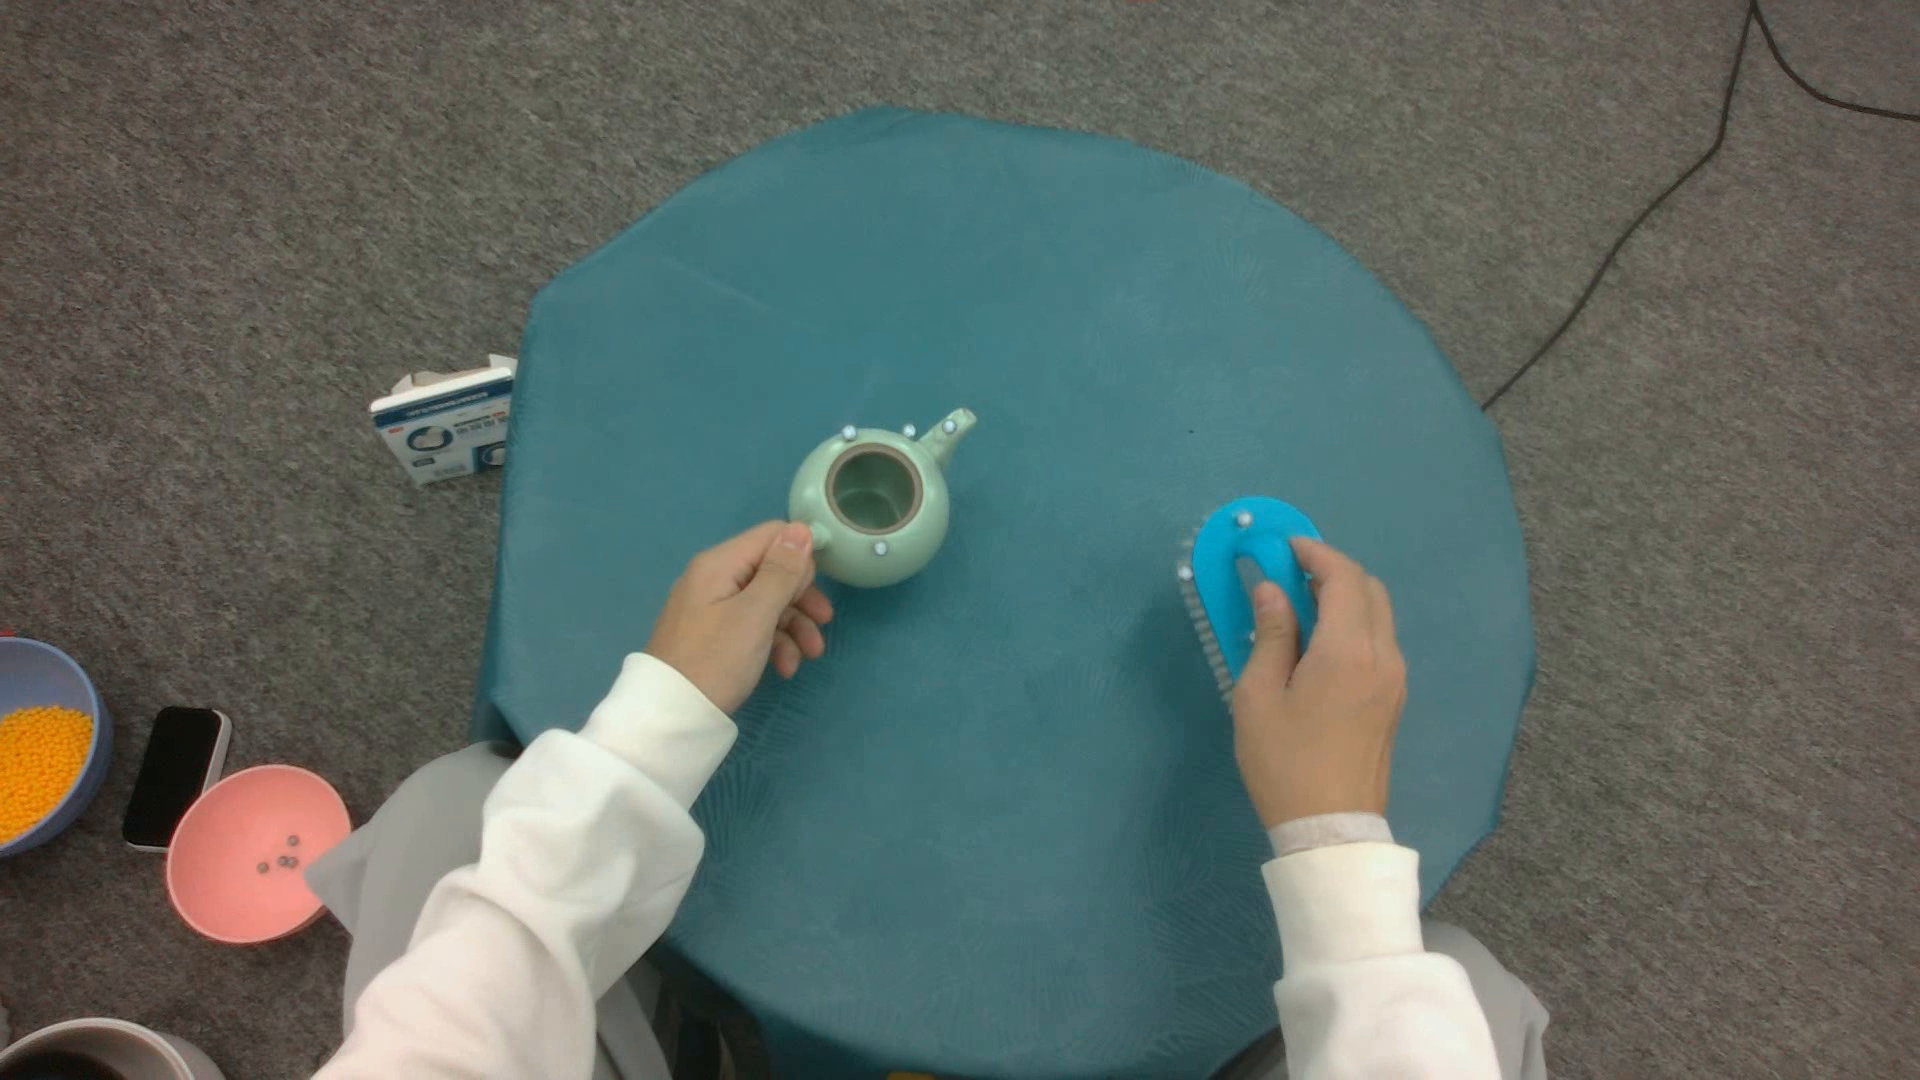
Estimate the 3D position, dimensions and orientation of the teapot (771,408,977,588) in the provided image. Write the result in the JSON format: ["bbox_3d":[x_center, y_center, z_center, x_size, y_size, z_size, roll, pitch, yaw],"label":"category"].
[{"bbox_3d":[-0.049,-0.018,0.766,0.144,0.074,0.088,-38,81,-23],"label":"teapot"}]

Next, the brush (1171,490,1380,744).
[{"bbox_3d":[0.173,0.037,0.728,0.084,0.063,0.142,-21,84,-13],"label":"brush"}]
